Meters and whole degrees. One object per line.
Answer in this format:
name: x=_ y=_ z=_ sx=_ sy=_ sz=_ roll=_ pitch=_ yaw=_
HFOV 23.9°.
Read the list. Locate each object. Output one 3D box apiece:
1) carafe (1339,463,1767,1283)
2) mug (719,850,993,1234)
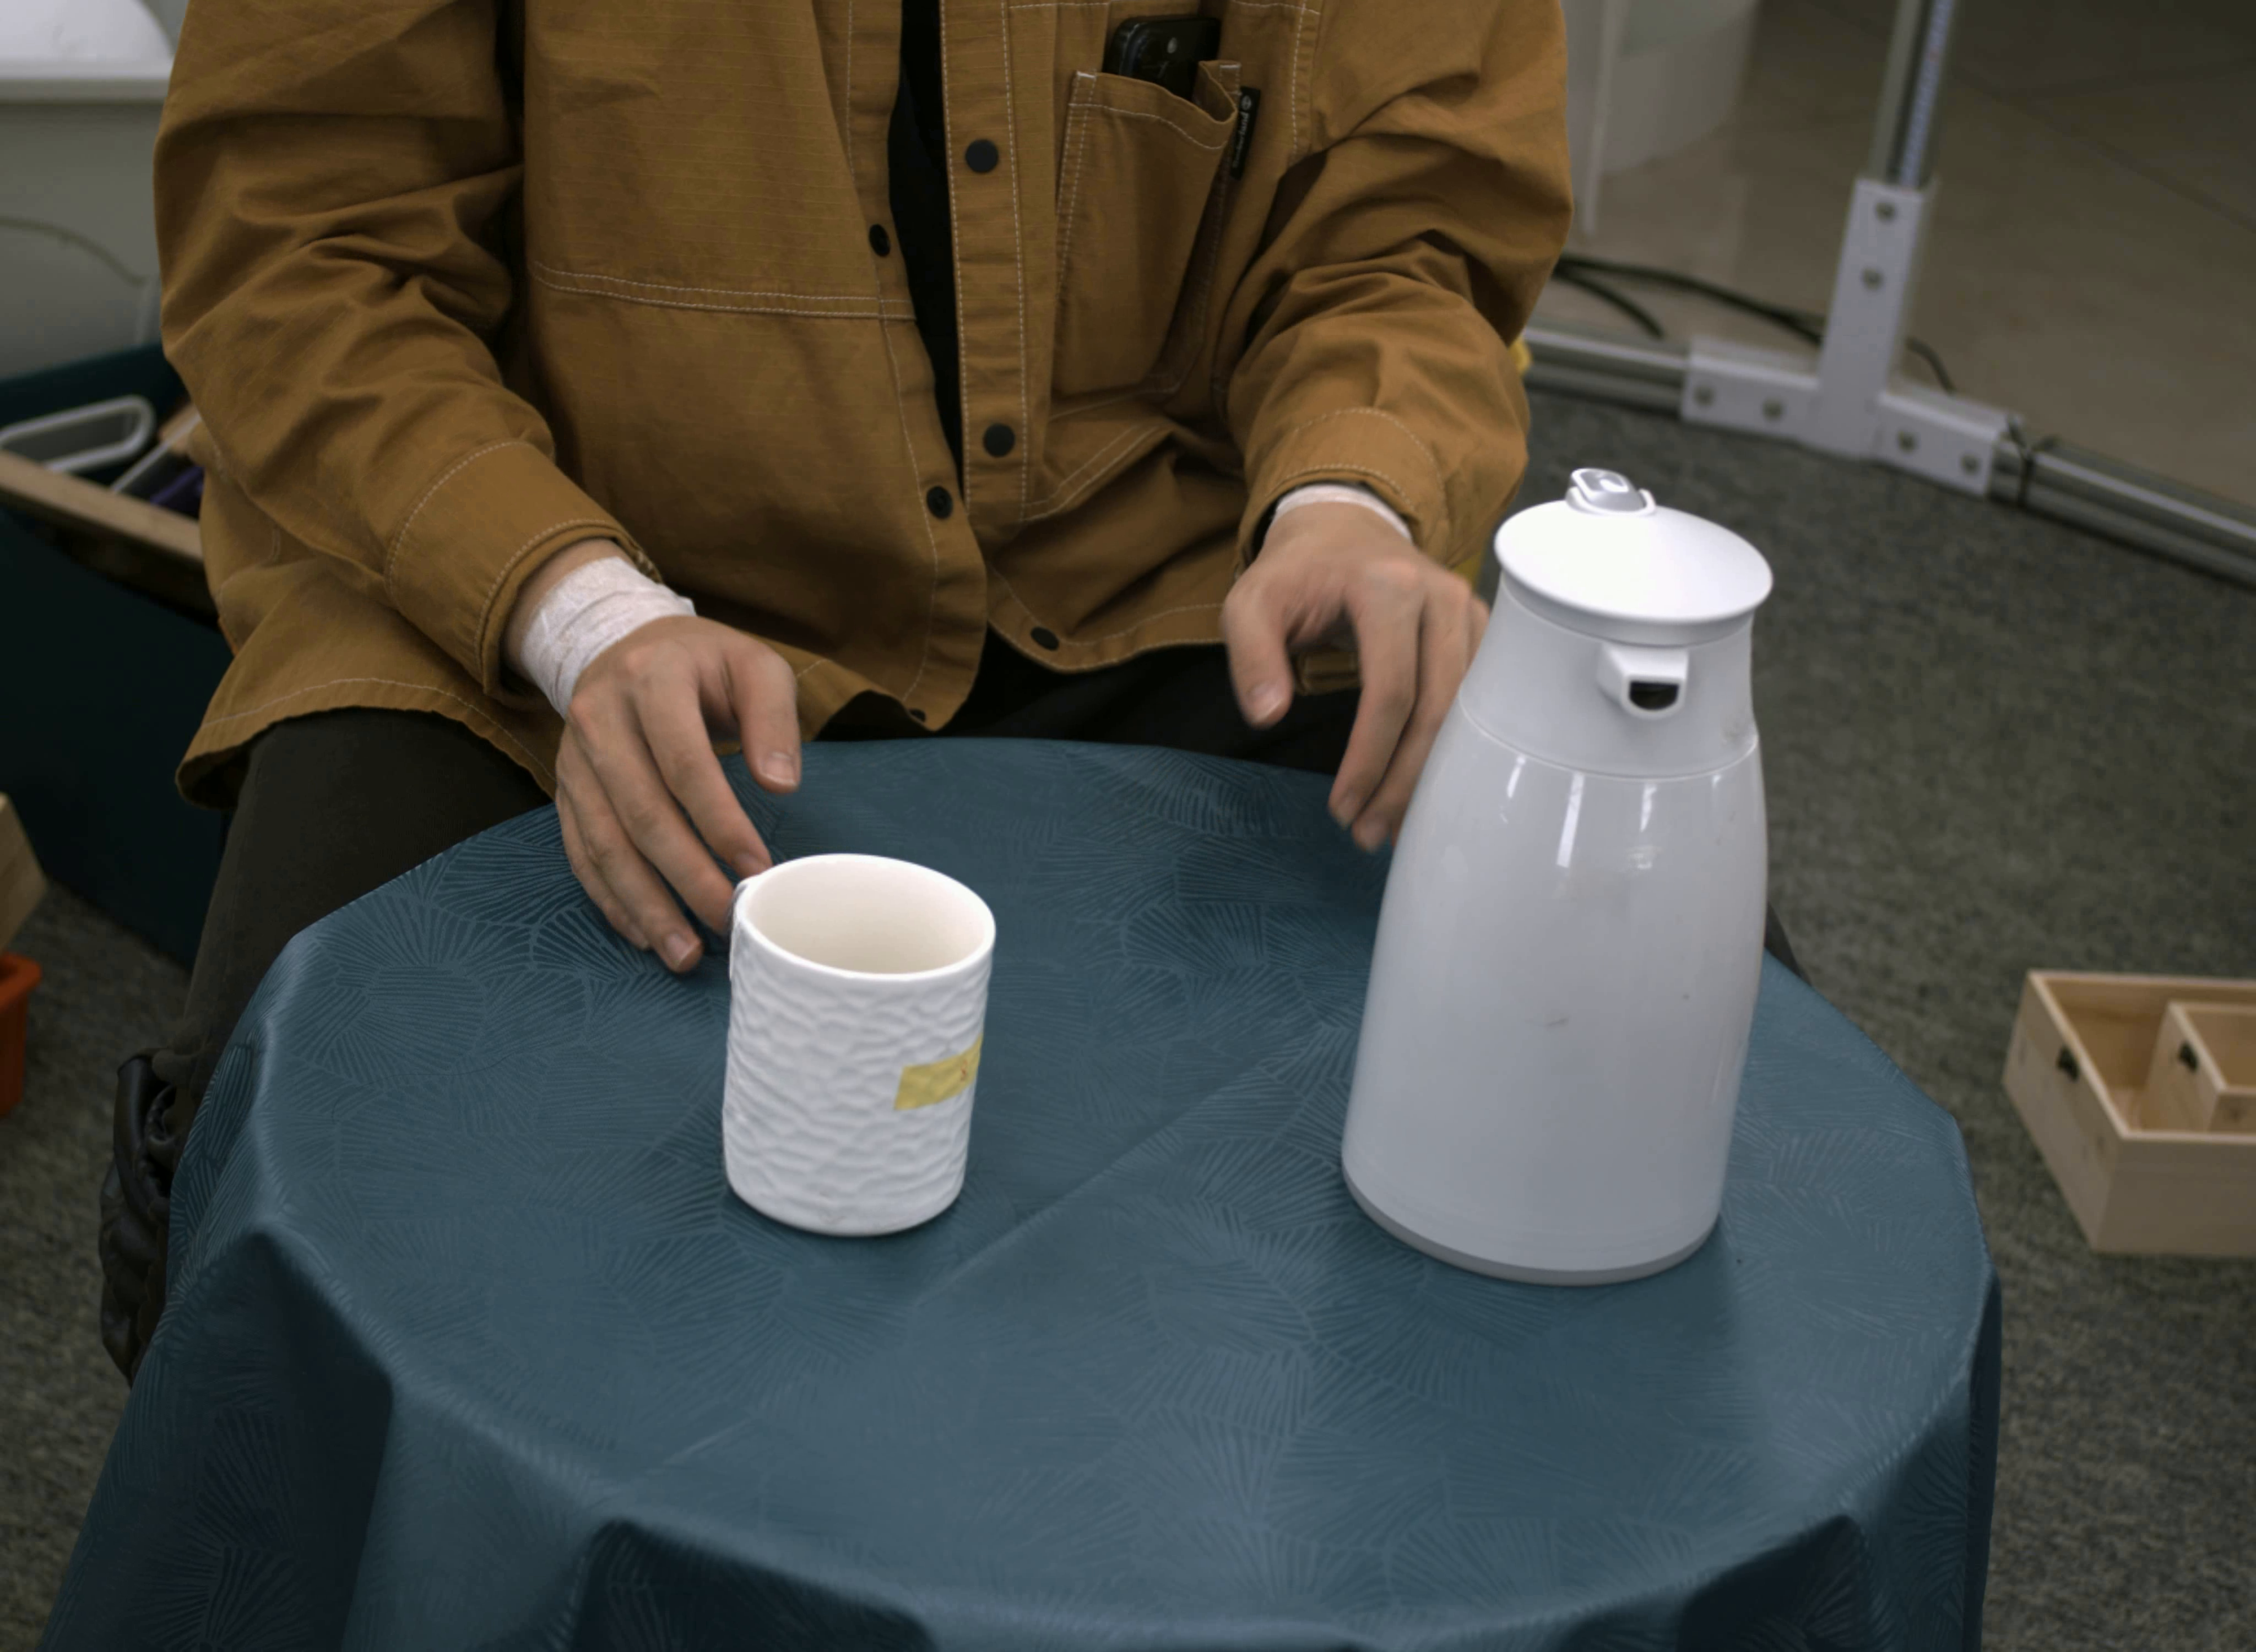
carafe: x=0.147 y=0.005 z=1.798 sx=0.132 sy=0.248 sz=0.169 roll=2 pitch=26 yaw=-7
mug: x=-0.101 y=0.066 z=1.782 sx=0.084 sy=0.101 sz=0.119 roll=-12 pitch=32 yaw=-32
